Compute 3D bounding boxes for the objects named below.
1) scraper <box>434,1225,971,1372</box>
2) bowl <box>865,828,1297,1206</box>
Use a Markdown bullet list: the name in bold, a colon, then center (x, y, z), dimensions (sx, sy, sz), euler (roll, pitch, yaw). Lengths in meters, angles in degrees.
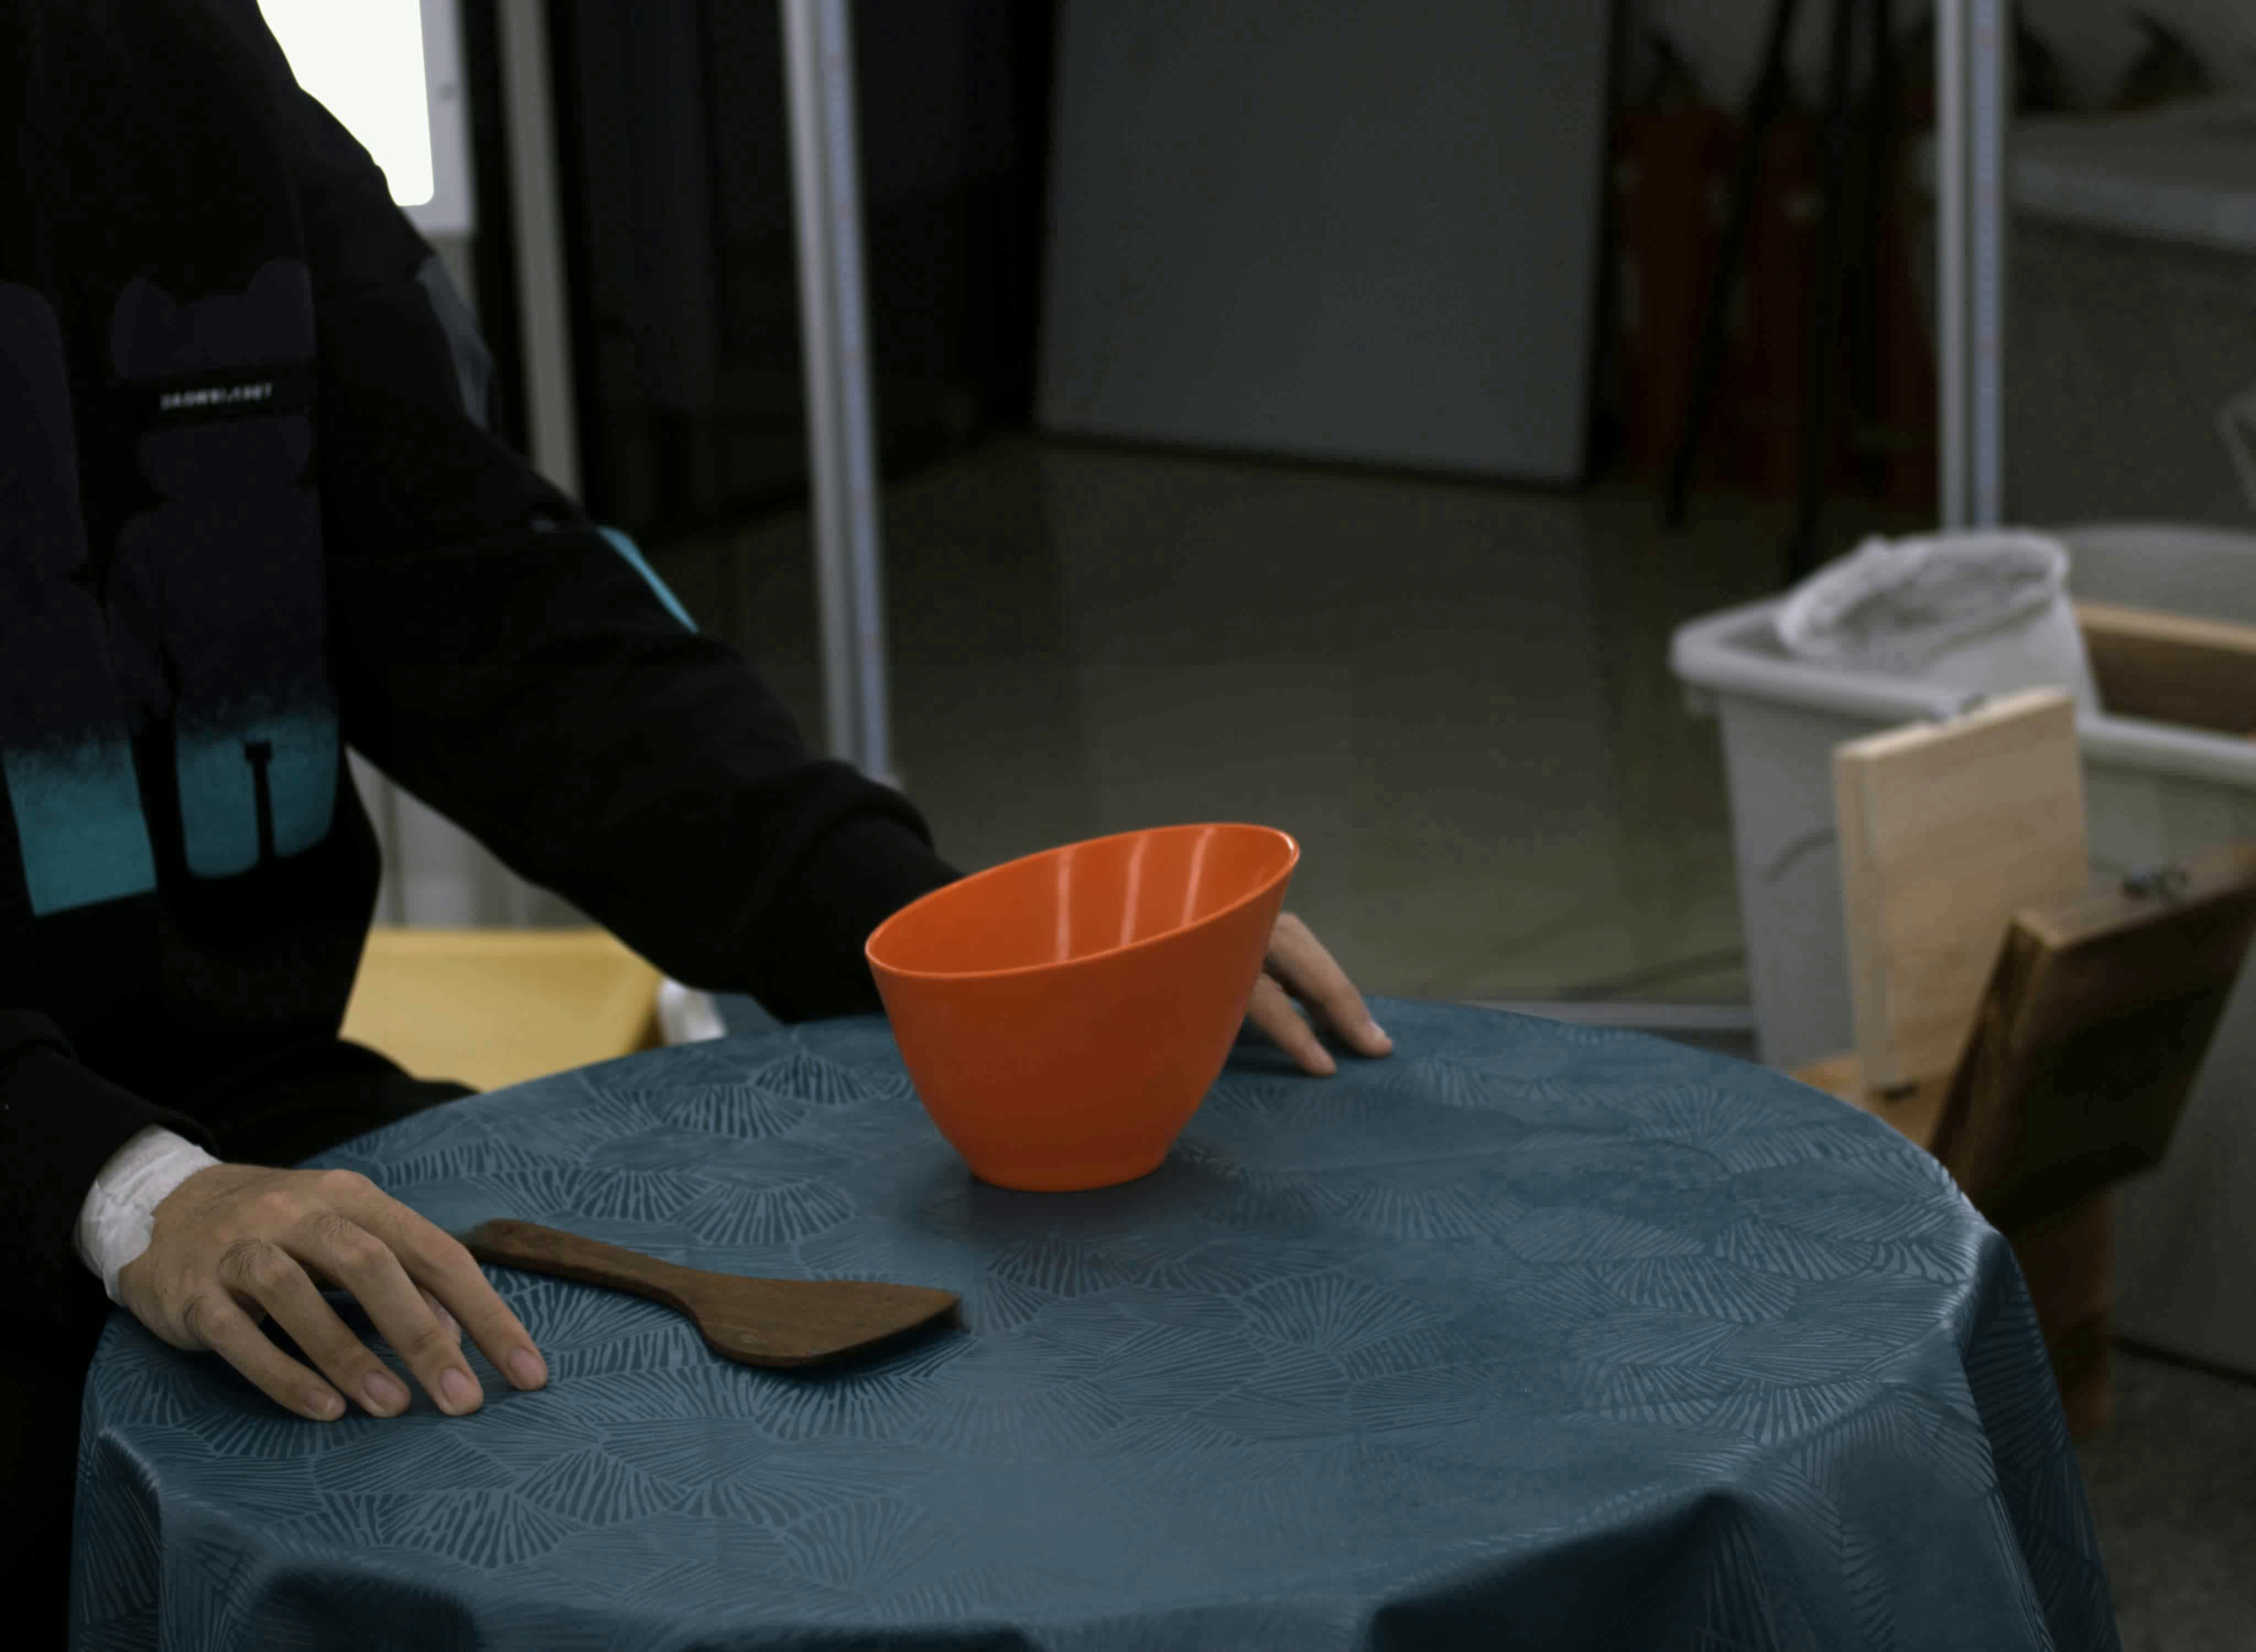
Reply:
- **scraper**: center (-0.142, 0.146, 1.699), dimensions (0.213, 0.011, 0.074), euler (8, 17, 43)
- **bowl**: center (-0.012, 0.066, 1.792), dimensions (0.146, 0.106, 0.148), euler (-6, 14, 0)
